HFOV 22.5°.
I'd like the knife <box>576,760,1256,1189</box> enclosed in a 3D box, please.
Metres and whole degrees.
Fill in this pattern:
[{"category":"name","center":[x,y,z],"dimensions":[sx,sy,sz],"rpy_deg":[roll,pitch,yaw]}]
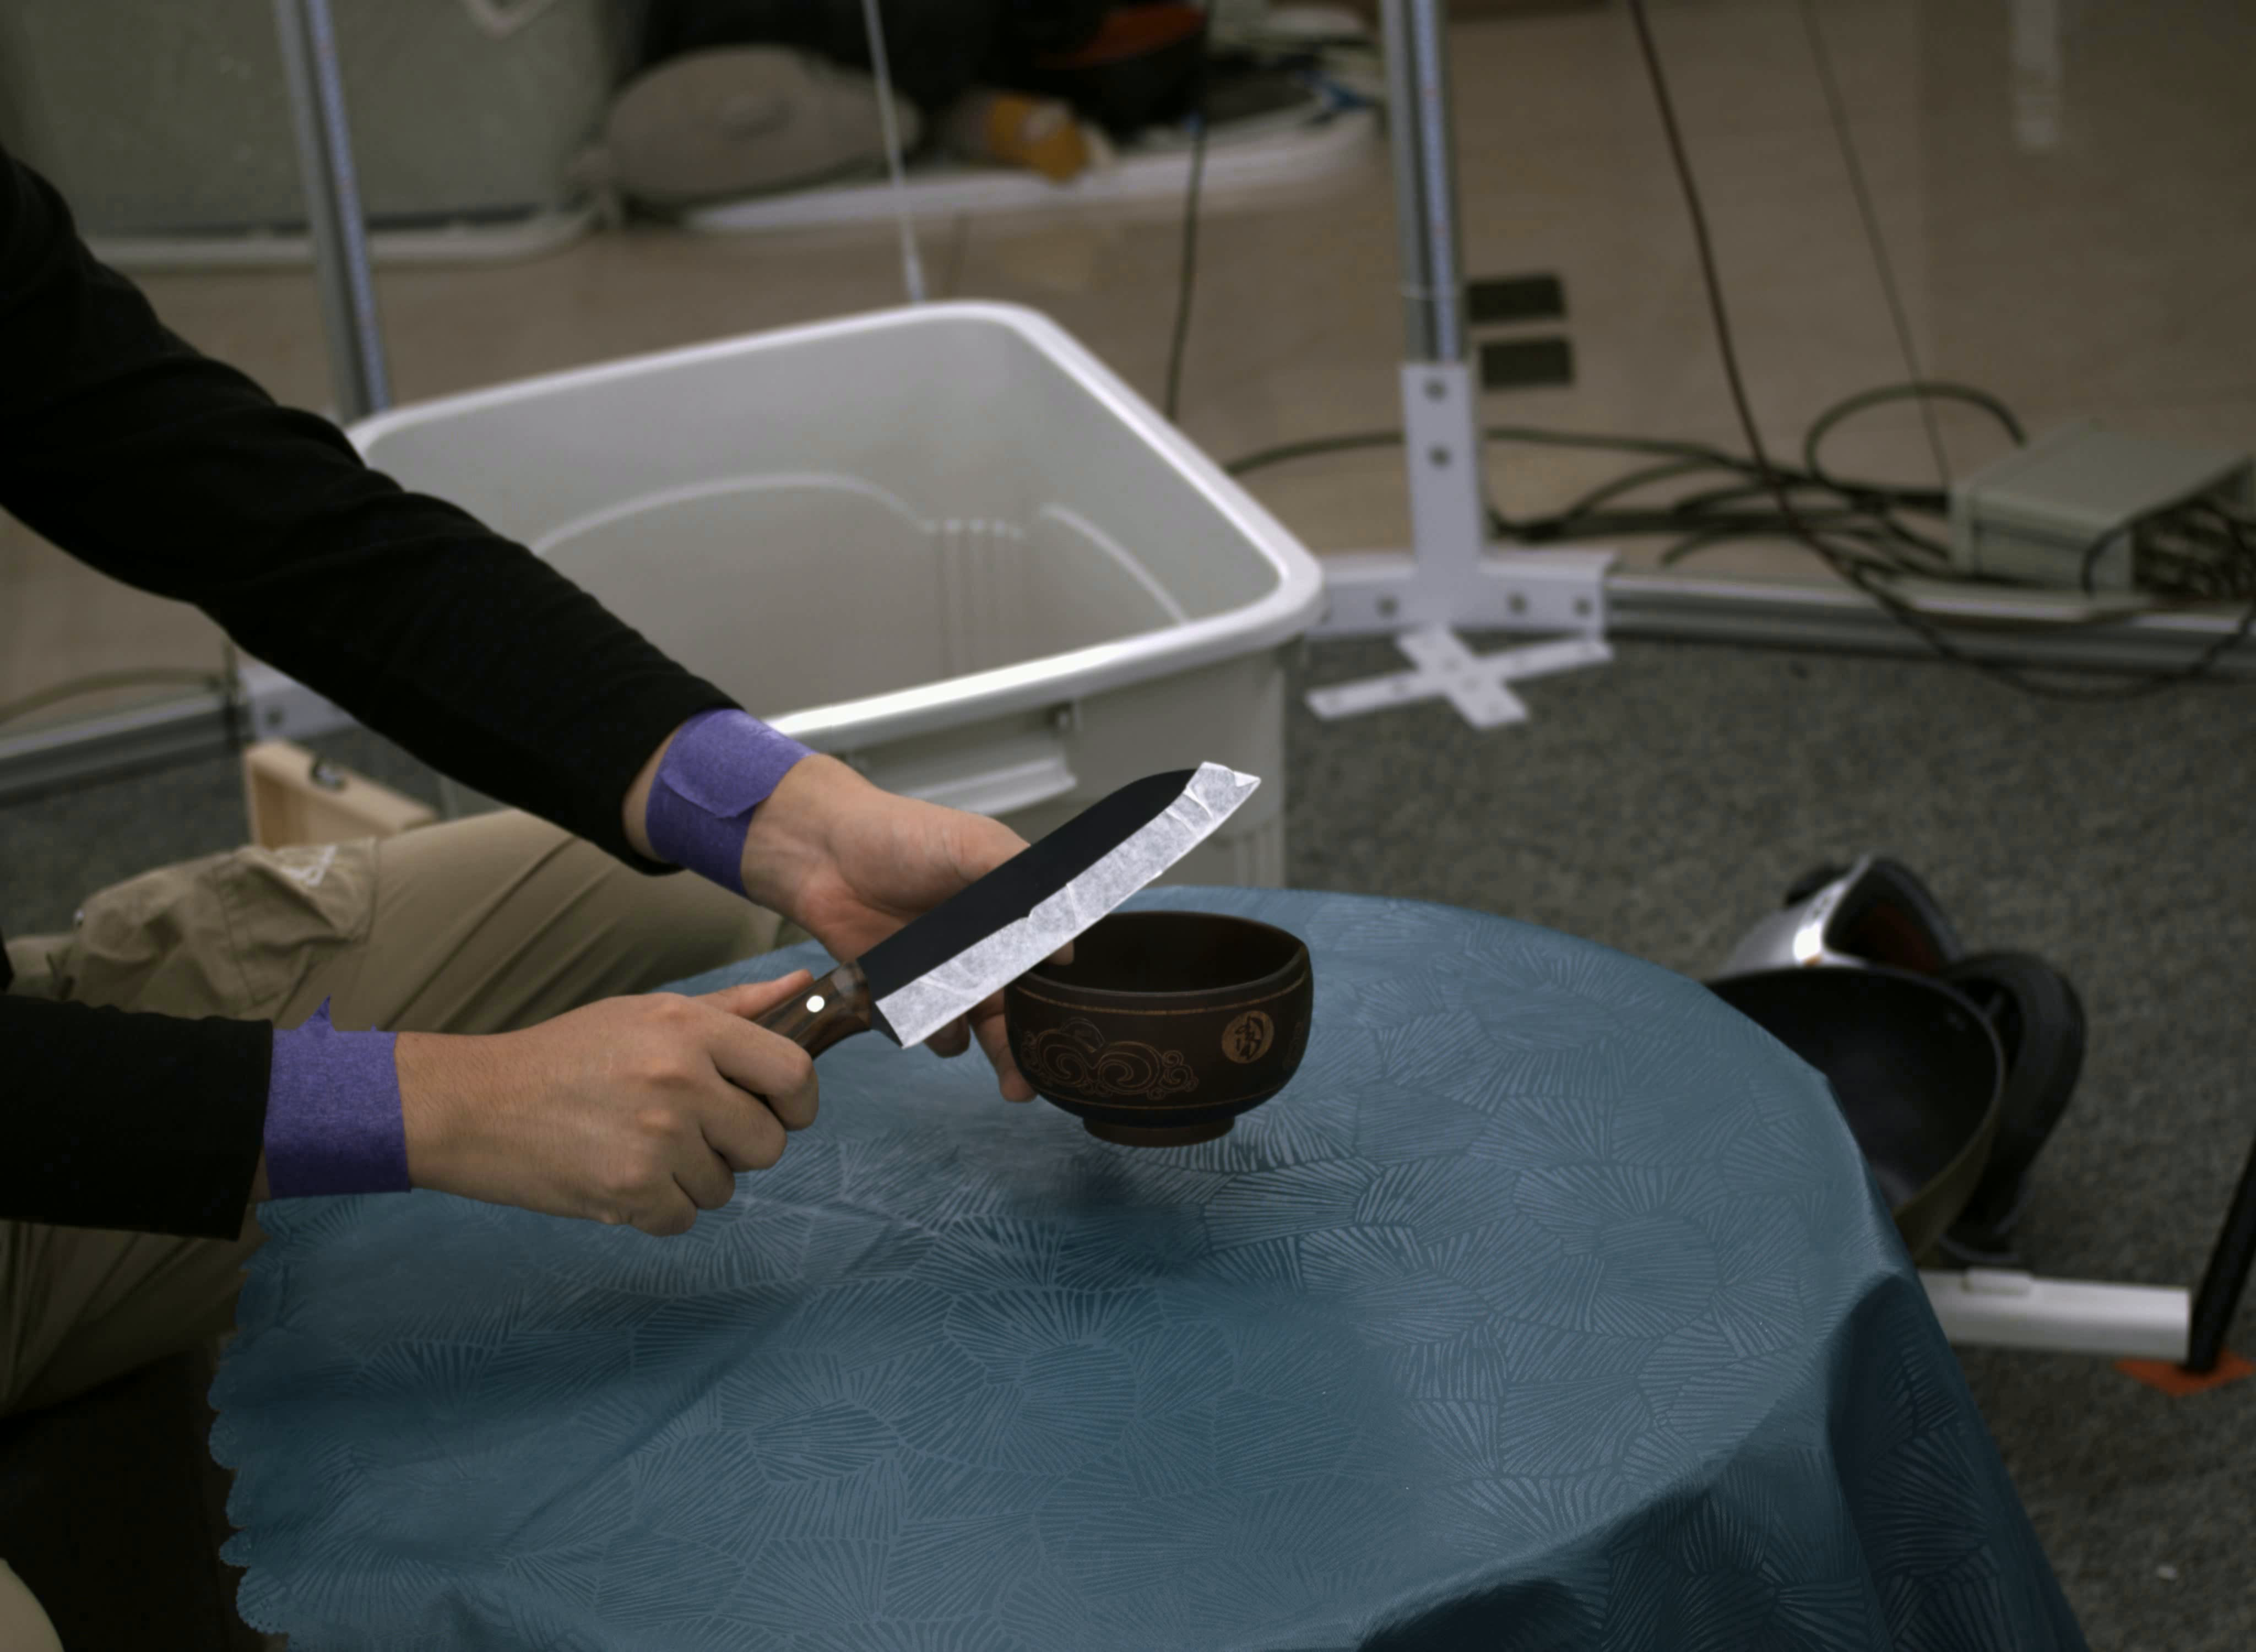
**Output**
[{"category":"knife","center":[-0.077,0.053,2.099],"dimensions":[0.288,0.020,0.049],"rpy_deg":[-31,64,-5]}]

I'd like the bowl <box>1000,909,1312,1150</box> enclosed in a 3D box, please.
[{"category":"bowl","center":[0.011,0.080,2.126],"dimensions":[0.118,0.070,0.117],"rpy_deg":[-2,16,1]}]
